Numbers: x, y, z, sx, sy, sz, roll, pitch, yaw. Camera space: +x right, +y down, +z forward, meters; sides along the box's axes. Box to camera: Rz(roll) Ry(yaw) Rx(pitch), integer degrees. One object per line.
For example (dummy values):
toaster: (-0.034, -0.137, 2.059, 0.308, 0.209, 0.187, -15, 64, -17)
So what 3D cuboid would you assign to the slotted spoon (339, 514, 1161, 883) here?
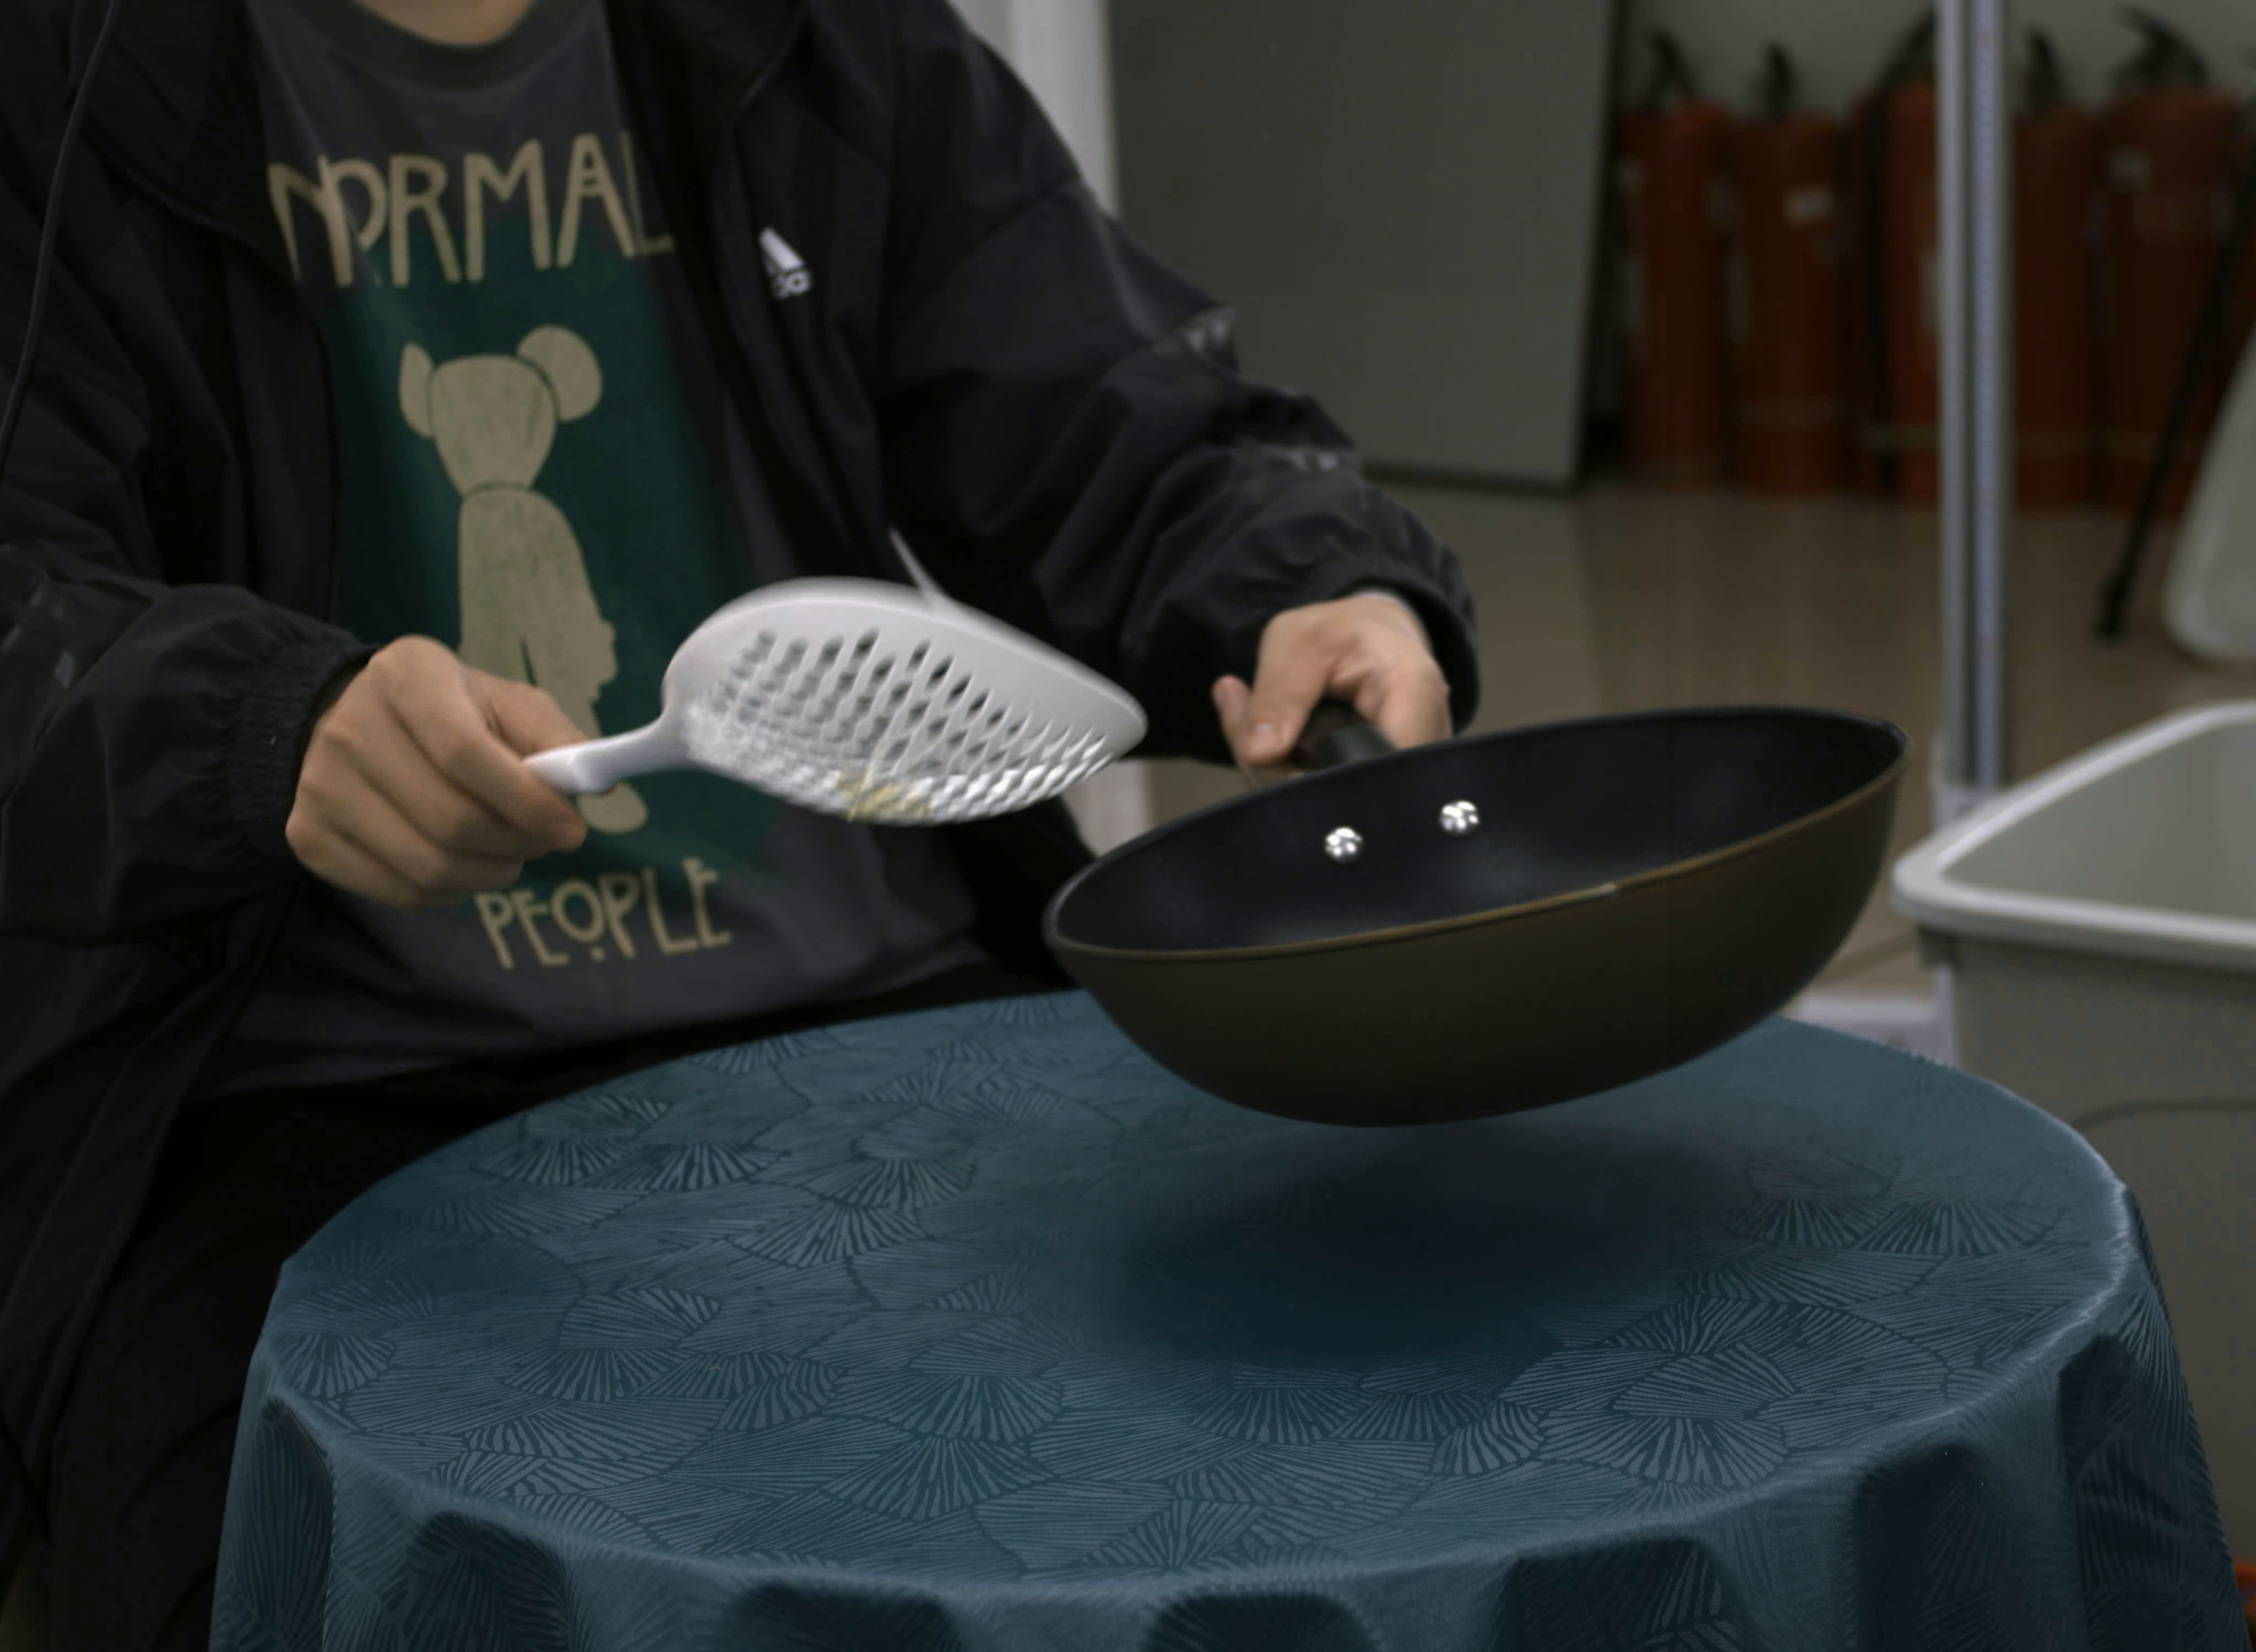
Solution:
slotted spoon: (-0.134, -0.023, 1.692, 0.134, 0.051, 0.351, 30, -26, -34)

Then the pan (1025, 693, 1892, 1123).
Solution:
pan: (0.098, 0.020, 1.810, 0.284, 0.088, 0.465, -15, 10, -7)
